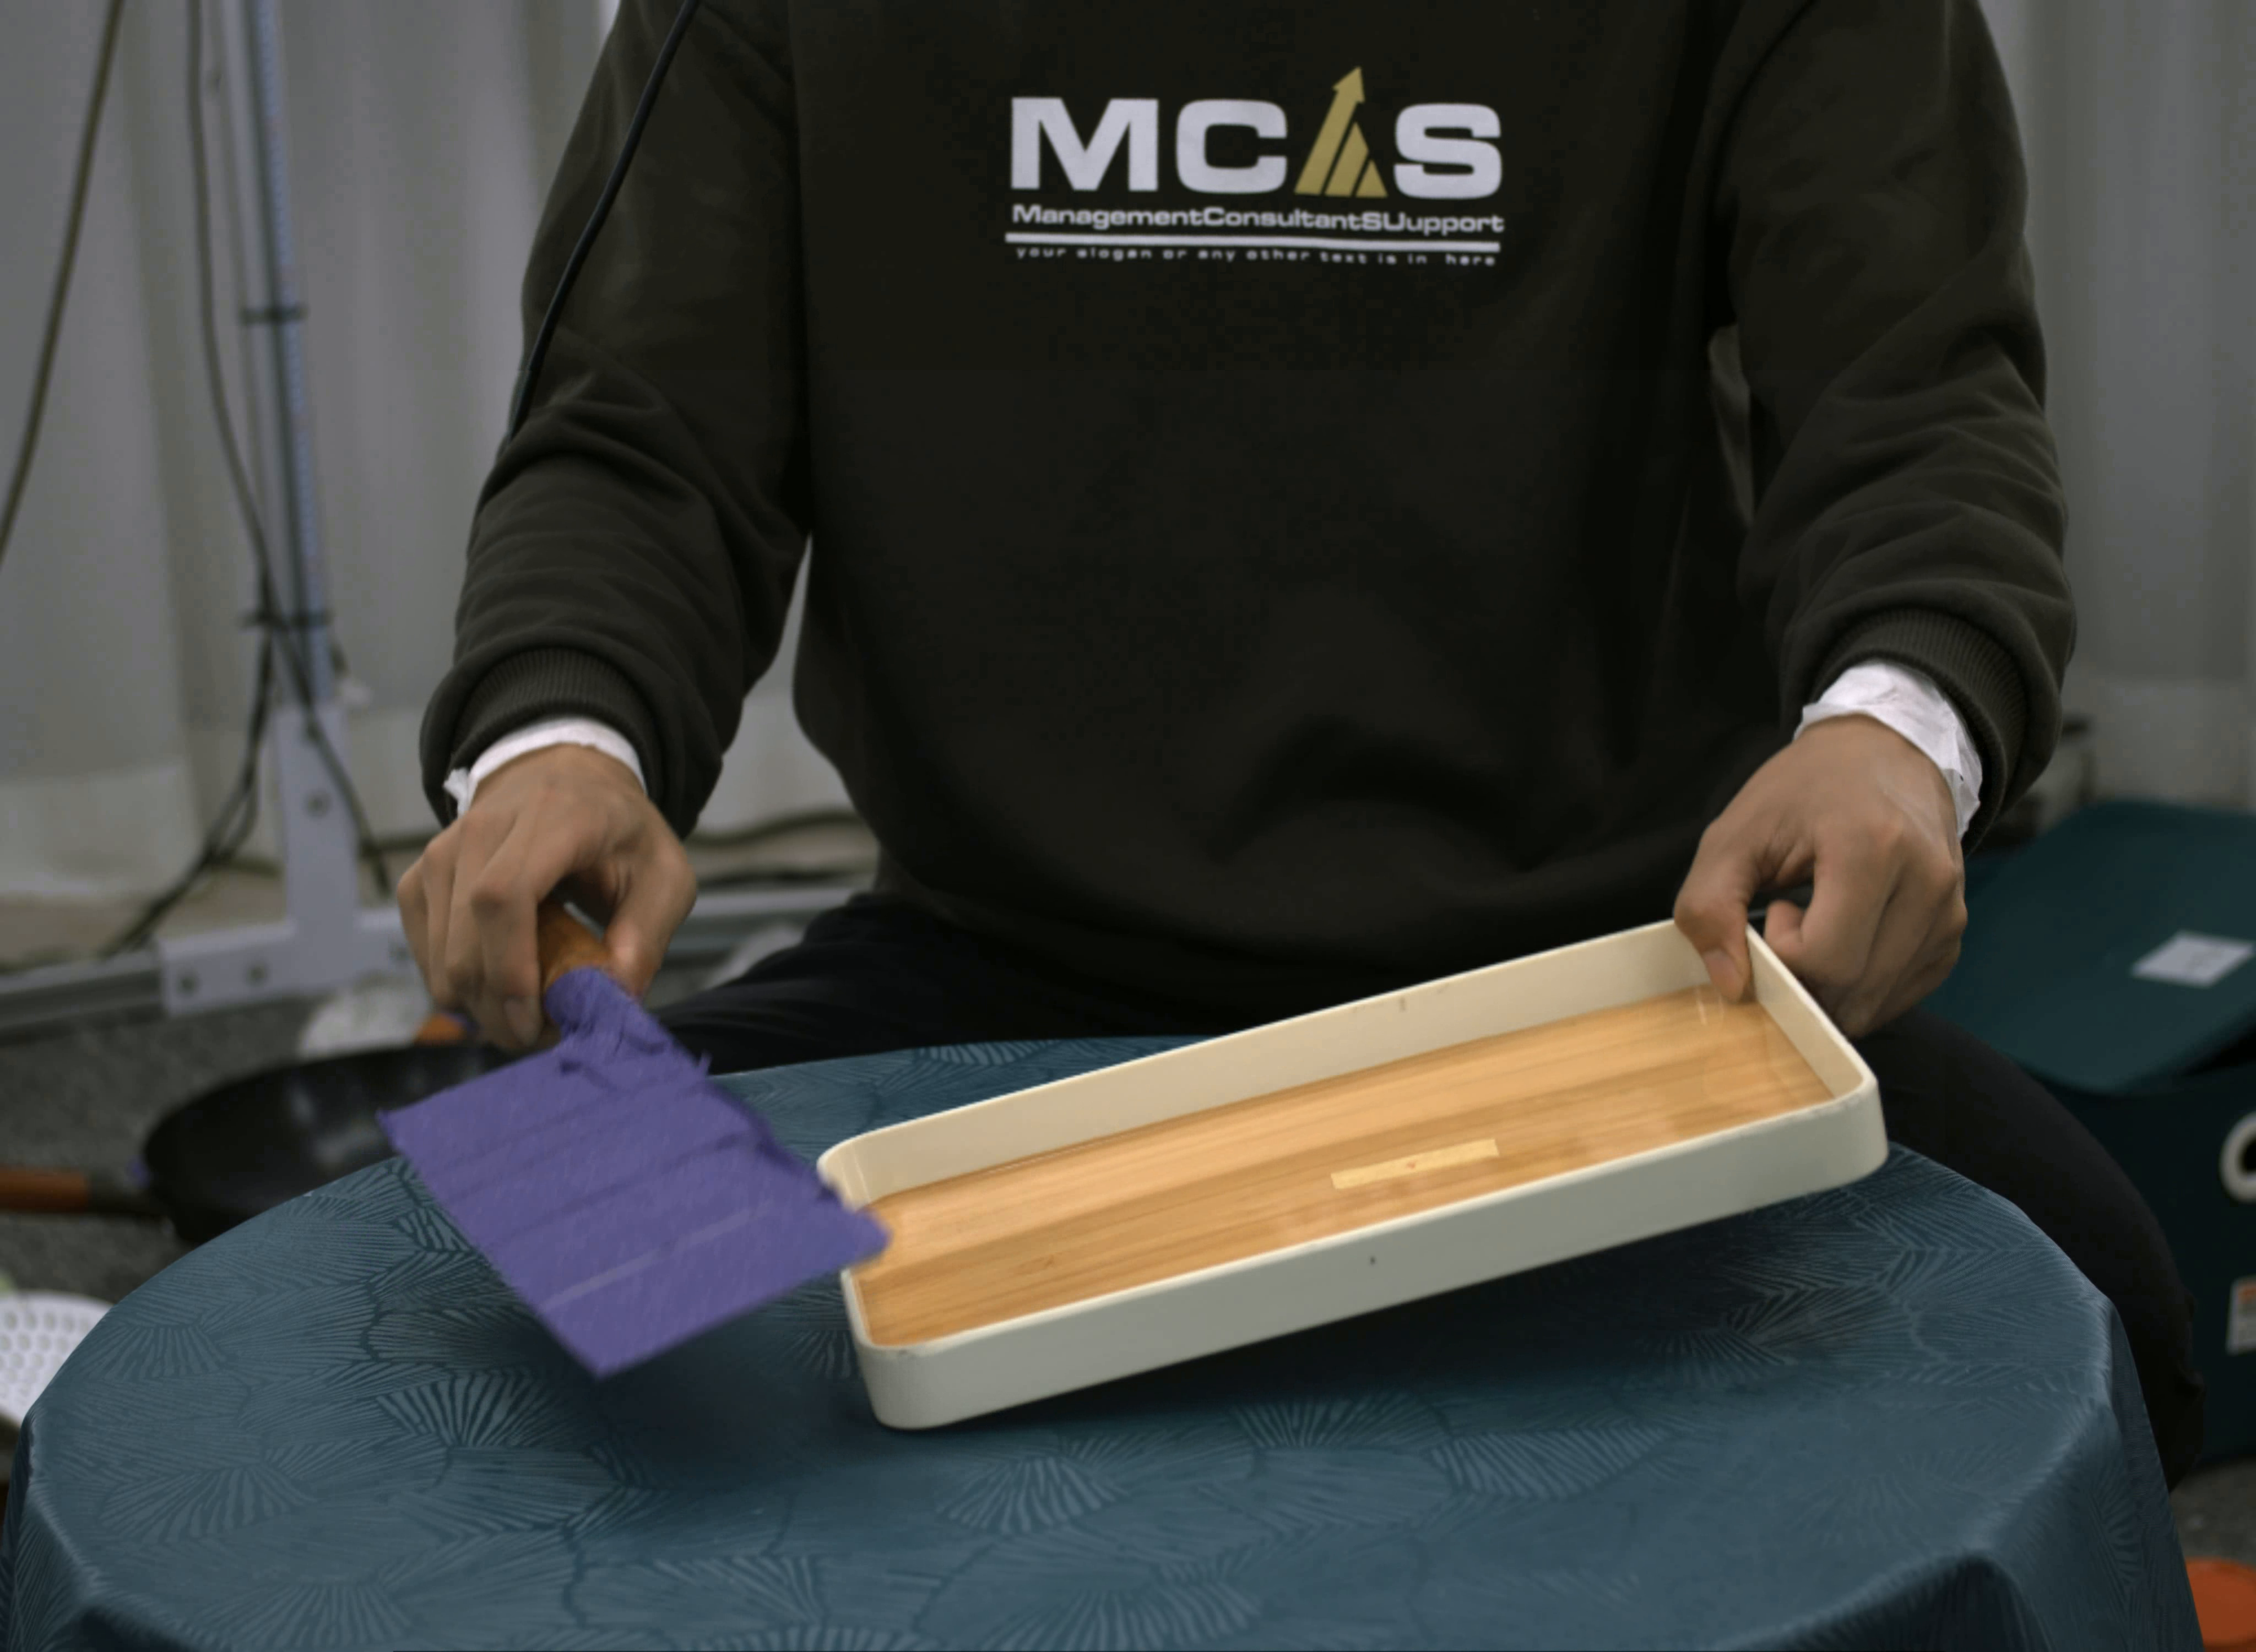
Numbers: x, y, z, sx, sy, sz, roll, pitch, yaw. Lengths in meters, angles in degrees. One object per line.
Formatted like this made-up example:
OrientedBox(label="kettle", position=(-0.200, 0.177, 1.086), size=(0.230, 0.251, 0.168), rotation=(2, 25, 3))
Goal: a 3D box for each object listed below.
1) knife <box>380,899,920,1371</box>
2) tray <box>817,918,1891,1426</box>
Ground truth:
OrientedBox(label="knife", position=(-0.166, 0.087, 1.614), size=(0.103, 0.032, 0.318), rotation=(-20, 22, -19))
OrientedBox(label="tray", position=(0.061, 0.099, 1.613), size=(0.299, 0.027, 0.193), rotation=(-14, 16, -3))
